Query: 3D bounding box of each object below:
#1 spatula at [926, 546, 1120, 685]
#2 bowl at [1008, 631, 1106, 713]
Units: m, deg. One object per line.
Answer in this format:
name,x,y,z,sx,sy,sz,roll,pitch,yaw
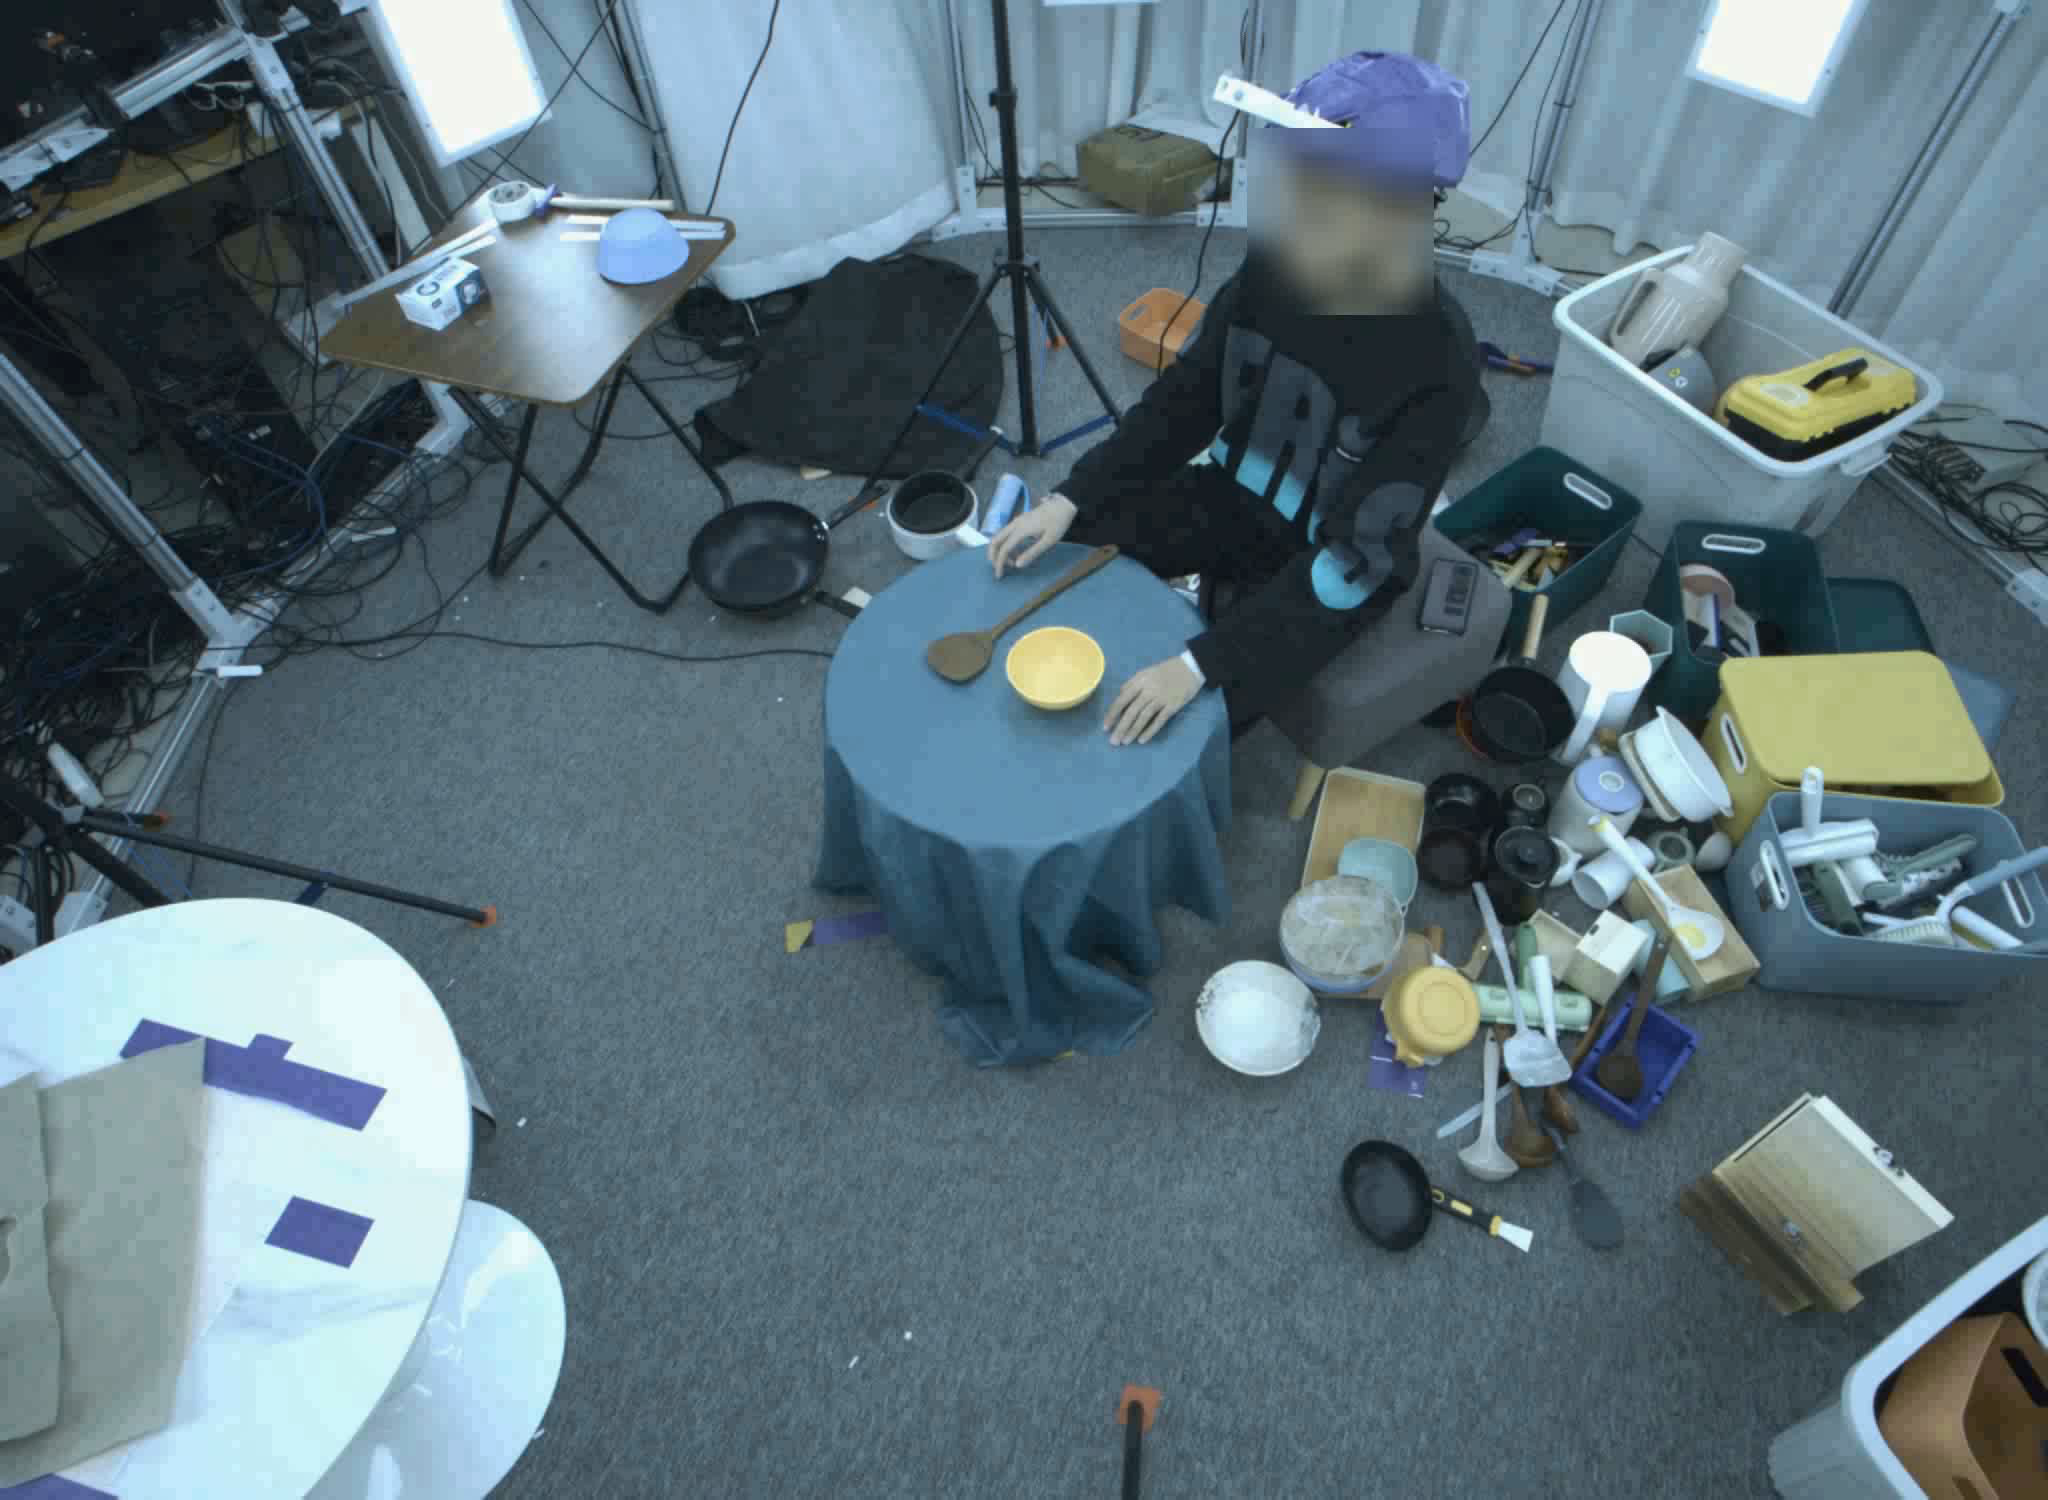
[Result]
spatula,0.011,-0.224,1.947,0.389,0.016,0.094,-38,62,-23
bowl,0.048,-0.105,1.836,0.145,0.060,0.144,1,55,0
